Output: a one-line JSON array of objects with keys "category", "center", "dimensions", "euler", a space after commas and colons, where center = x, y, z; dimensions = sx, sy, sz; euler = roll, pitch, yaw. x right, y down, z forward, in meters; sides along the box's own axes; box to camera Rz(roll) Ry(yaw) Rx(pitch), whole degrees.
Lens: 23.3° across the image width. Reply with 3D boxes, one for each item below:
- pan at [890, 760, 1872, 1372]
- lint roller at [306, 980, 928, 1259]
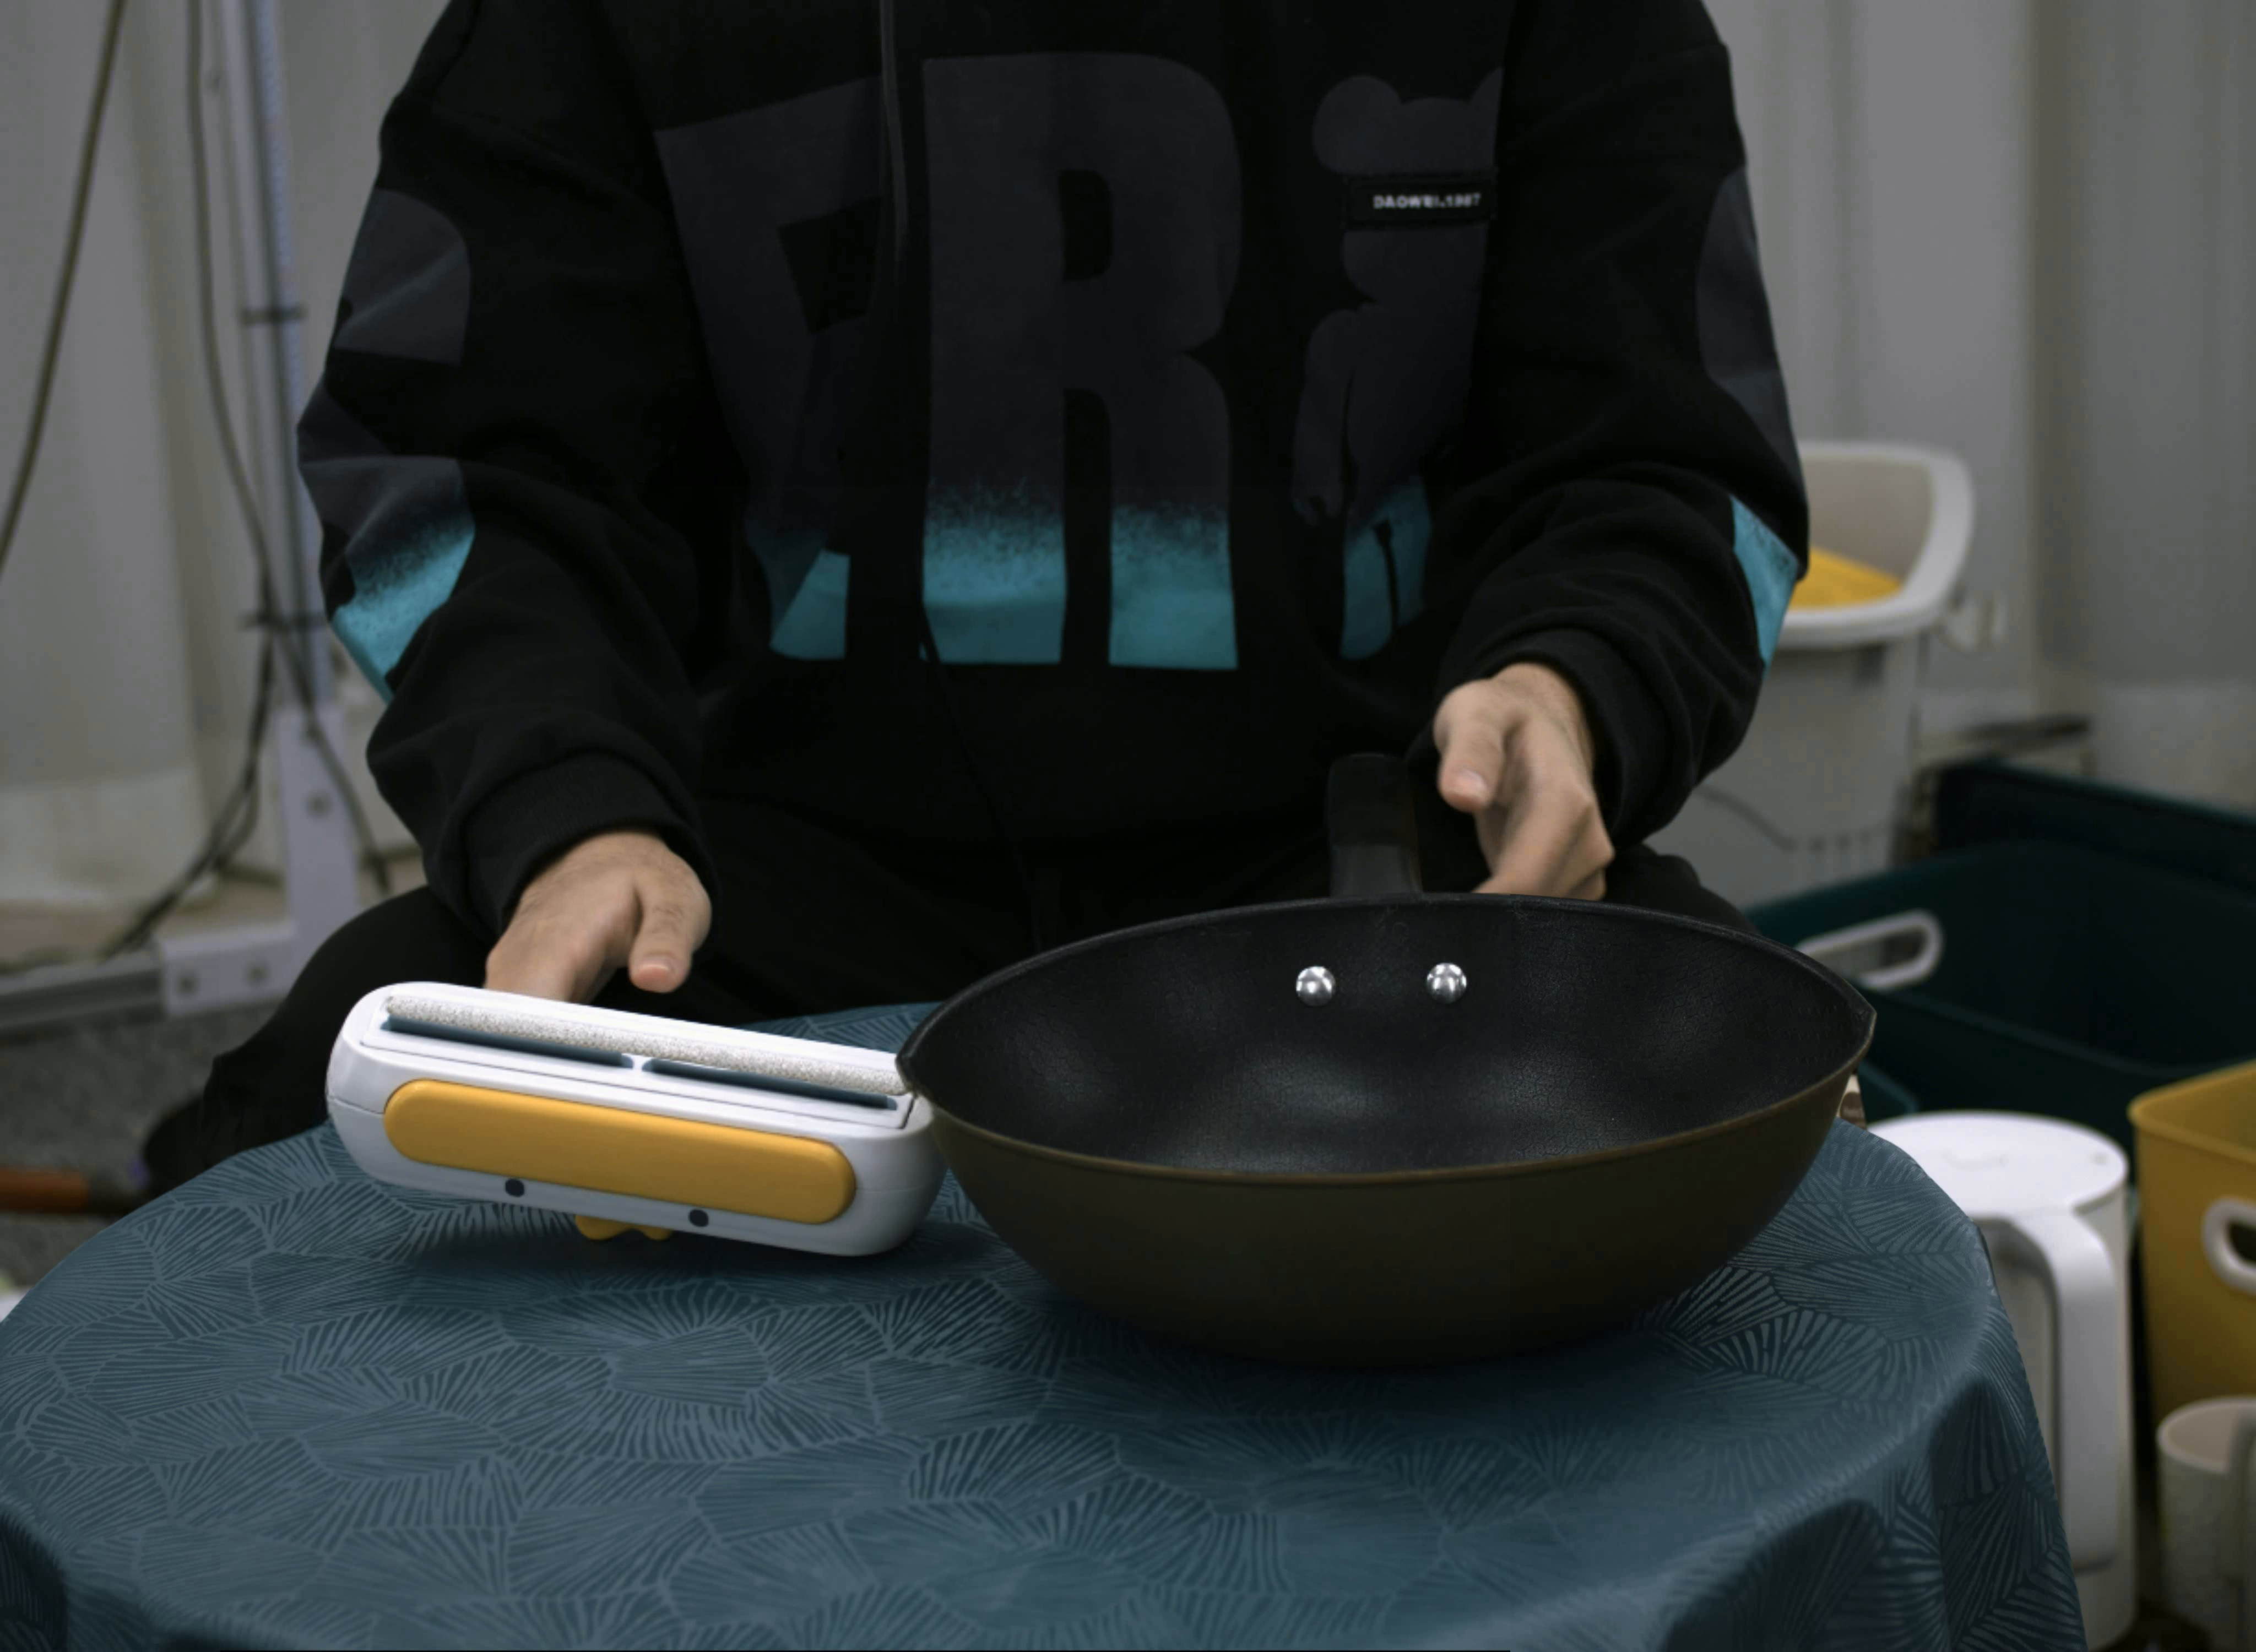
[{"category": "pan", "center": [0.078, 0.072, 1.696], "dimensions": [0.287, 0.086, 0.466], "euler": [-3, 15, 3]}, {"category": "lint roller", "center": [-0.147, 0.082, 1.736], "dimensions": [0.192, 0.074, 0.193], "euler": [5, 14, 10]}]
